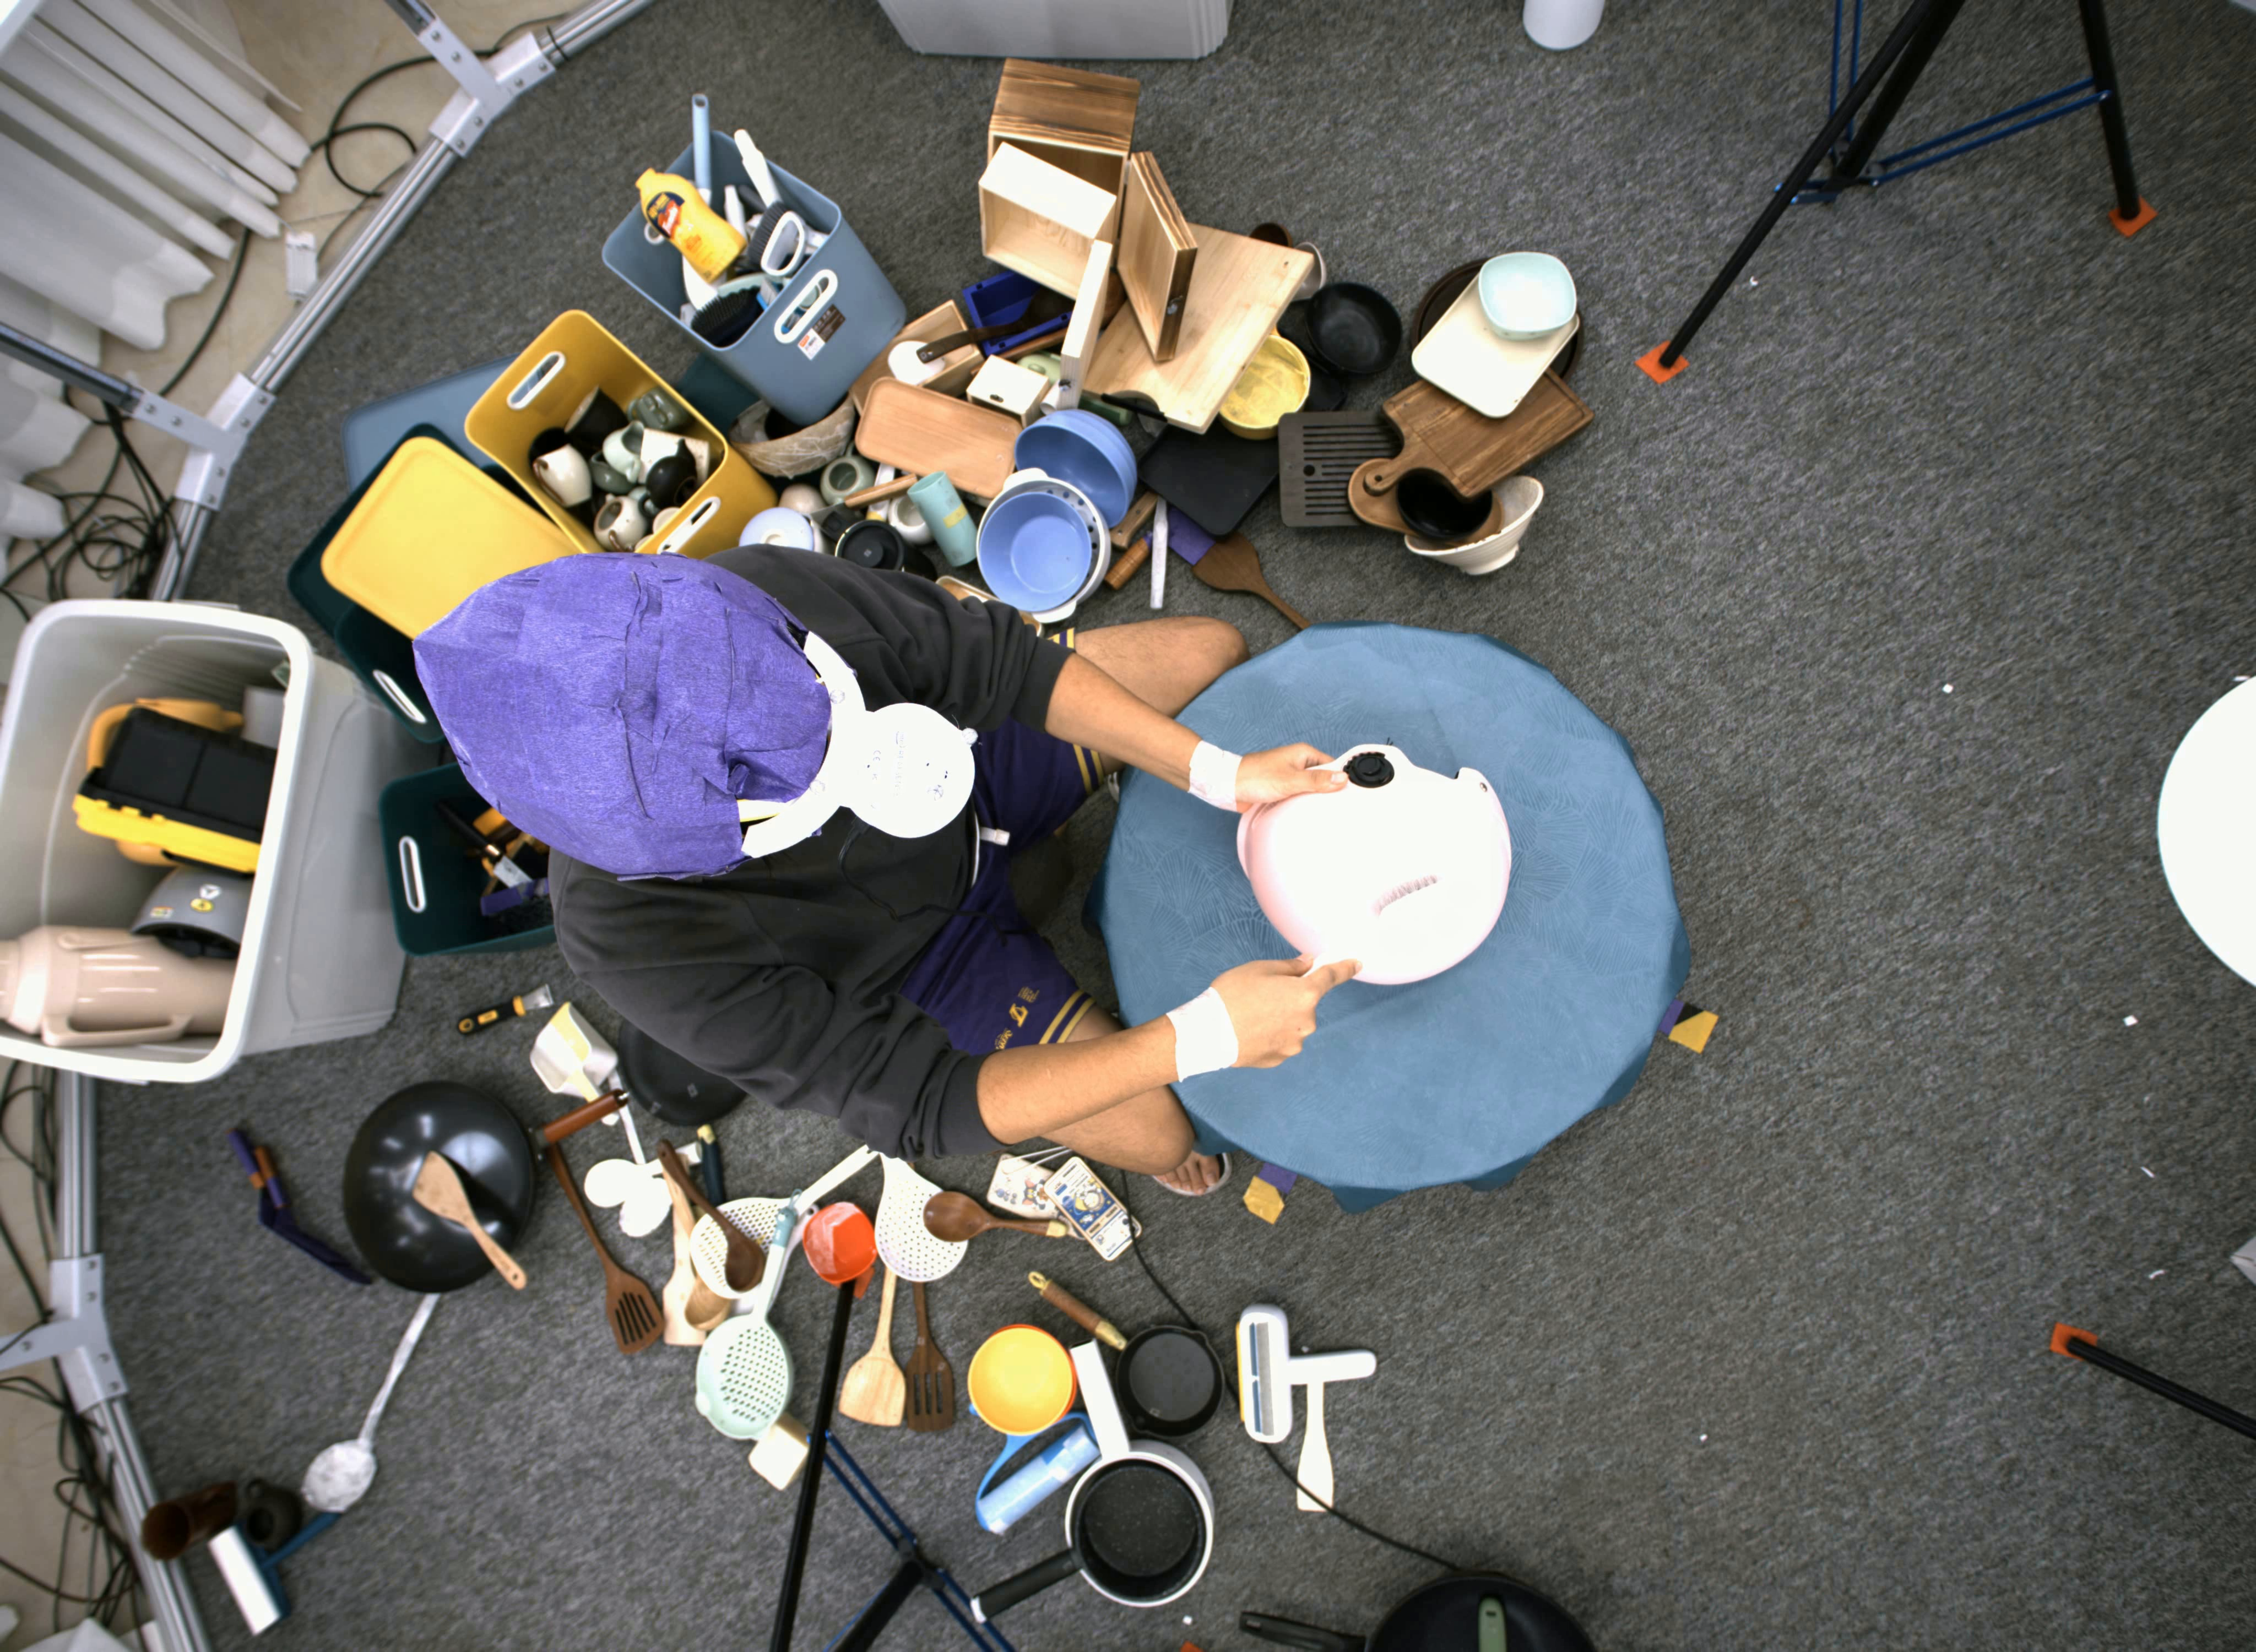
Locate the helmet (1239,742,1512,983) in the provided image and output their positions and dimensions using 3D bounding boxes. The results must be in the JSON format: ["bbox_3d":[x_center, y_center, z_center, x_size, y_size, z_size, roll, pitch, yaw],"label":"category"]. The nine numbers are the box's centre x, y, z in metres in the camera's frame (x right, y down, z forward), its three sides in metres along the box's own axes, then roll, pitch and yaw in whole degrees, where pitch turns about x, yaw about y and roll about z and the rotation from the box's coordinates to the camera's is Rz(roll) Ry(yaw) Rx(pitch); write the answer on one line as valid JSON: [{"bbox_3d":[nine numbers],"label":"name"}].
[{"bbox_3d":[0.236,0.054,1.319,0.266,0.154,0.240,8,131,2],"label":"helmet"}]

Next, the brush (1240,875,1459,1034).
[{"bbox_3d":[0.184,0.106,1.181,0.241,0.050,0.035,-28,106,-20],"label":"brush"}]
